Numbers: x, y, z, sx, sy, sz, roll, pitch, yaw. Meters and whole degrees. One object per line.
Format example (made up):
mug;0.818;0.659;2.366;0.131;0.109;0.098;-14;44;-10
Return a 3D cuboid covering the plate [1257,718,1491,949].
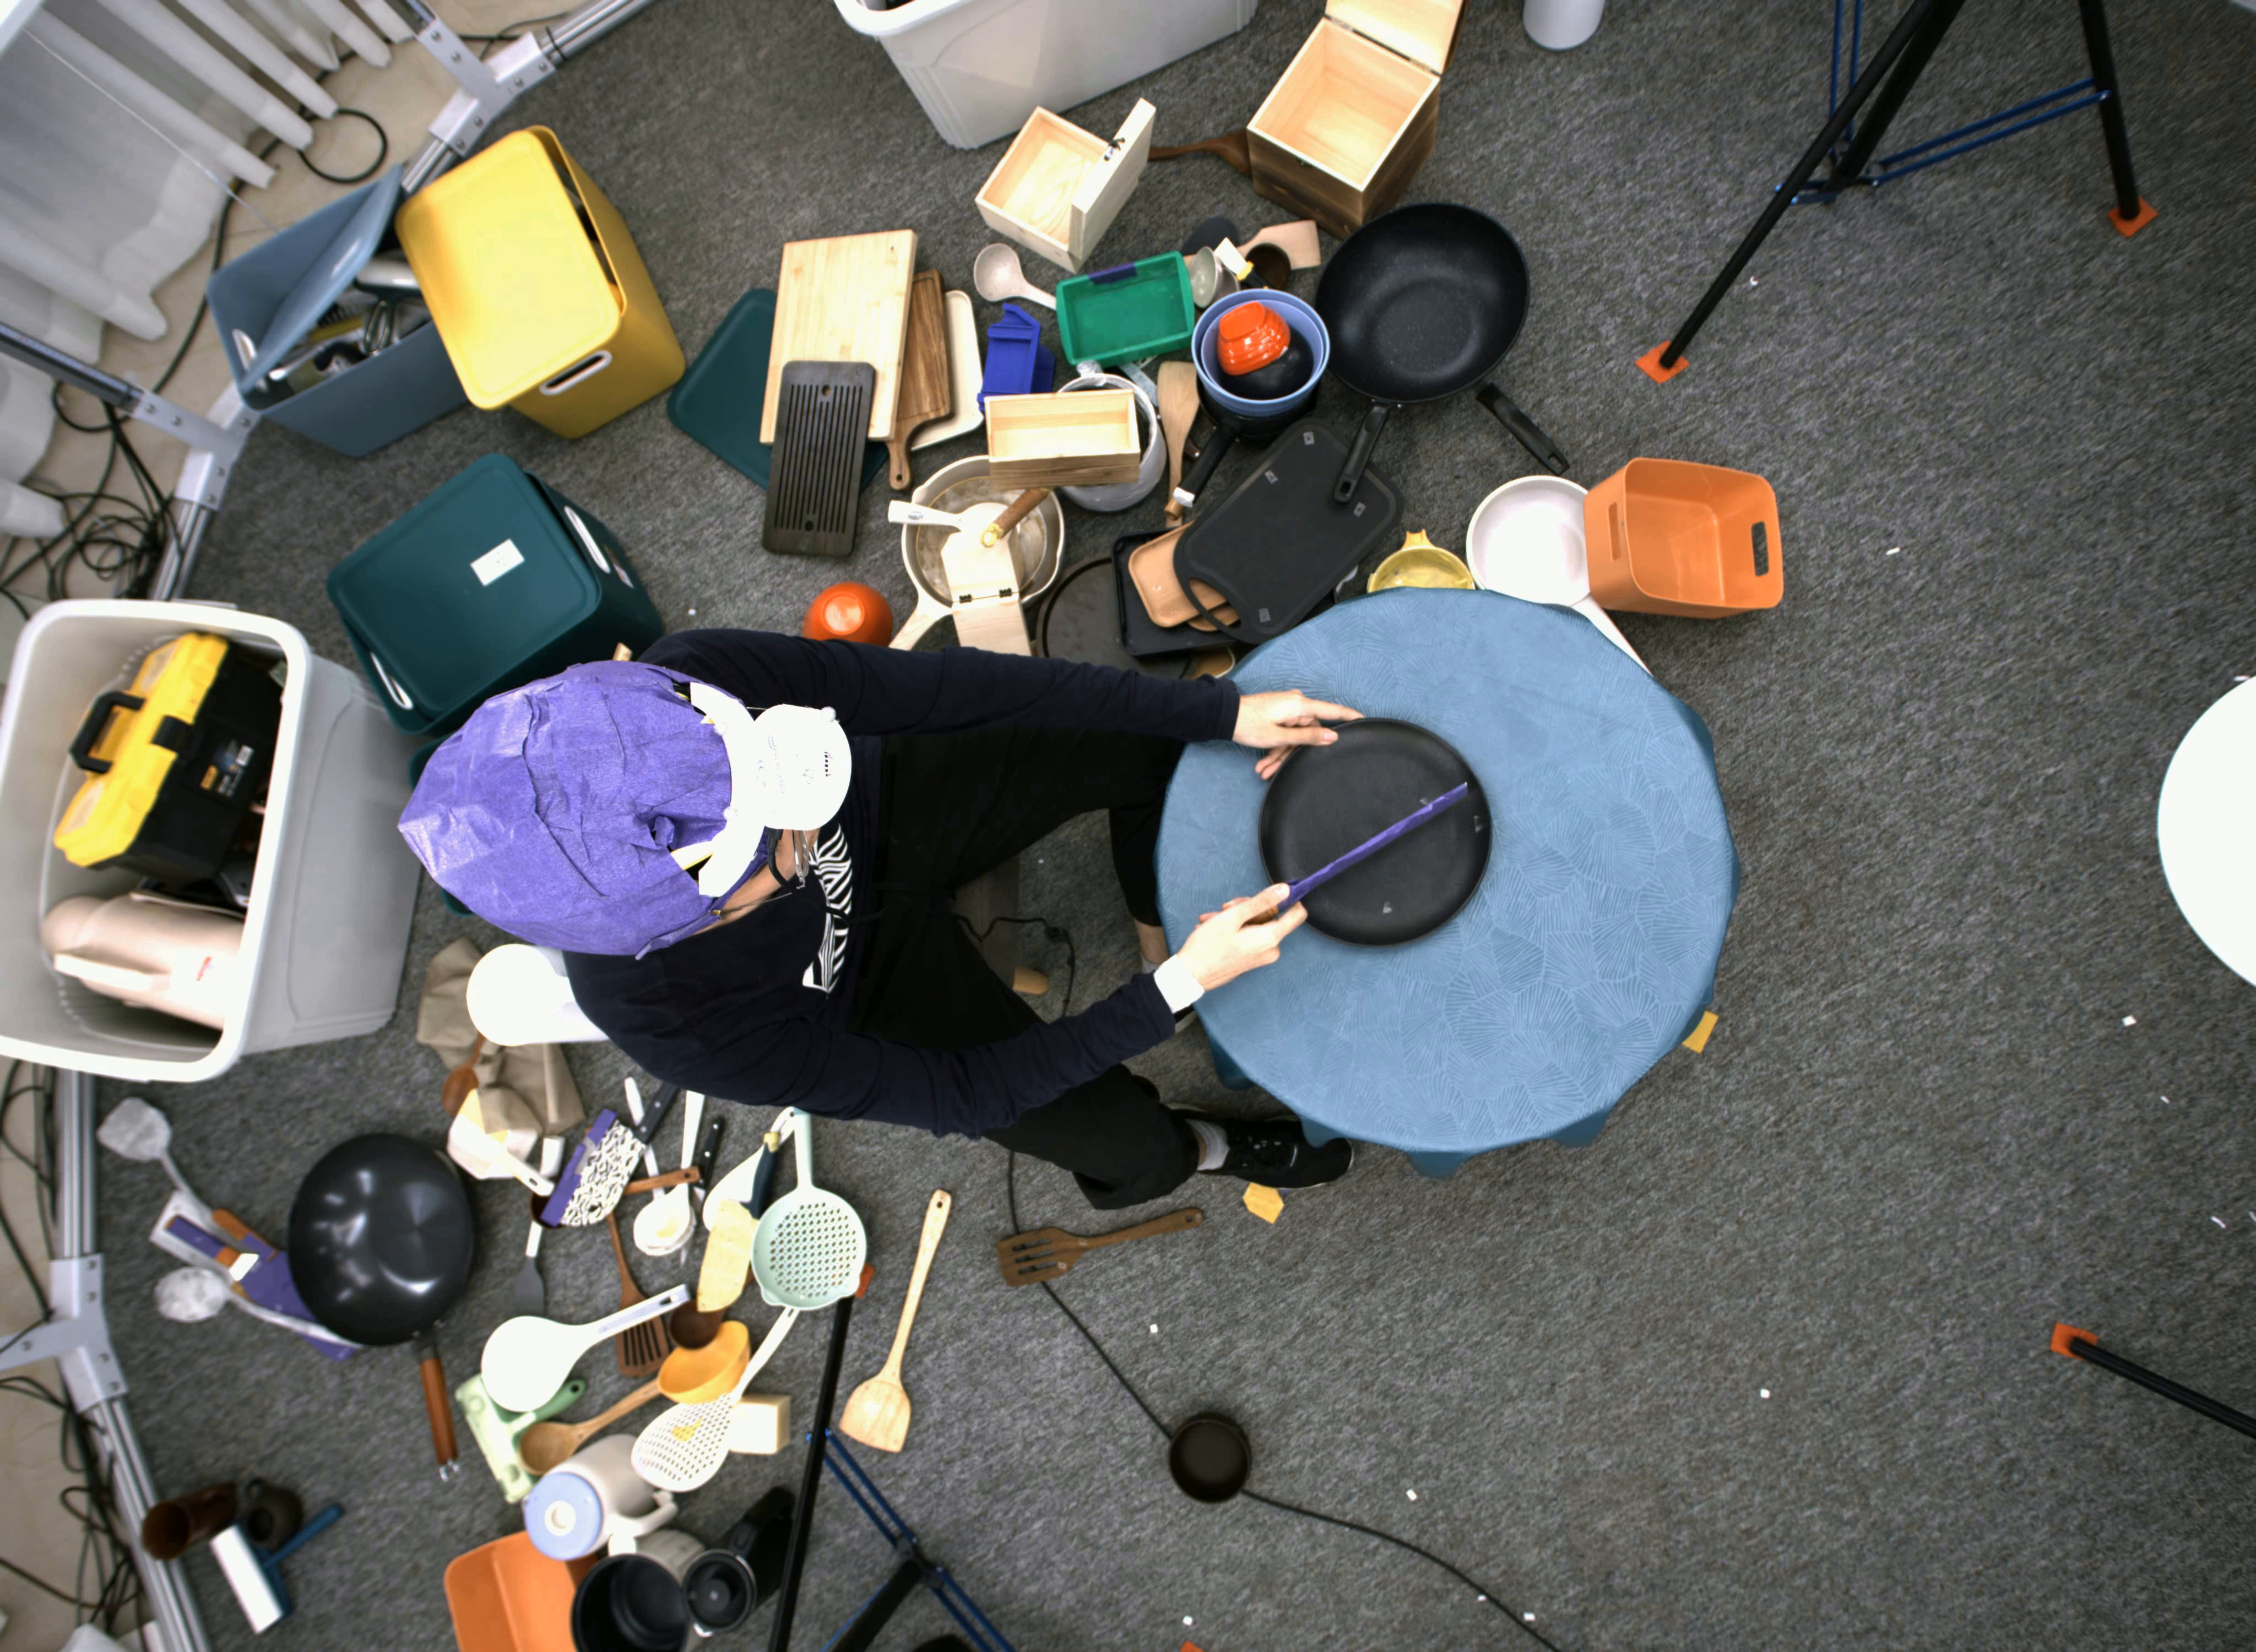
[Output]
plate;0.258;0.007;1.453;0.245;0.023;0.243;-1;87;10

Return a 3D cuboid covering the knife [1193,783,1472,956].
knife;0.213;0.045;1.407;0.317;0.104;0.032;-30;77;10
